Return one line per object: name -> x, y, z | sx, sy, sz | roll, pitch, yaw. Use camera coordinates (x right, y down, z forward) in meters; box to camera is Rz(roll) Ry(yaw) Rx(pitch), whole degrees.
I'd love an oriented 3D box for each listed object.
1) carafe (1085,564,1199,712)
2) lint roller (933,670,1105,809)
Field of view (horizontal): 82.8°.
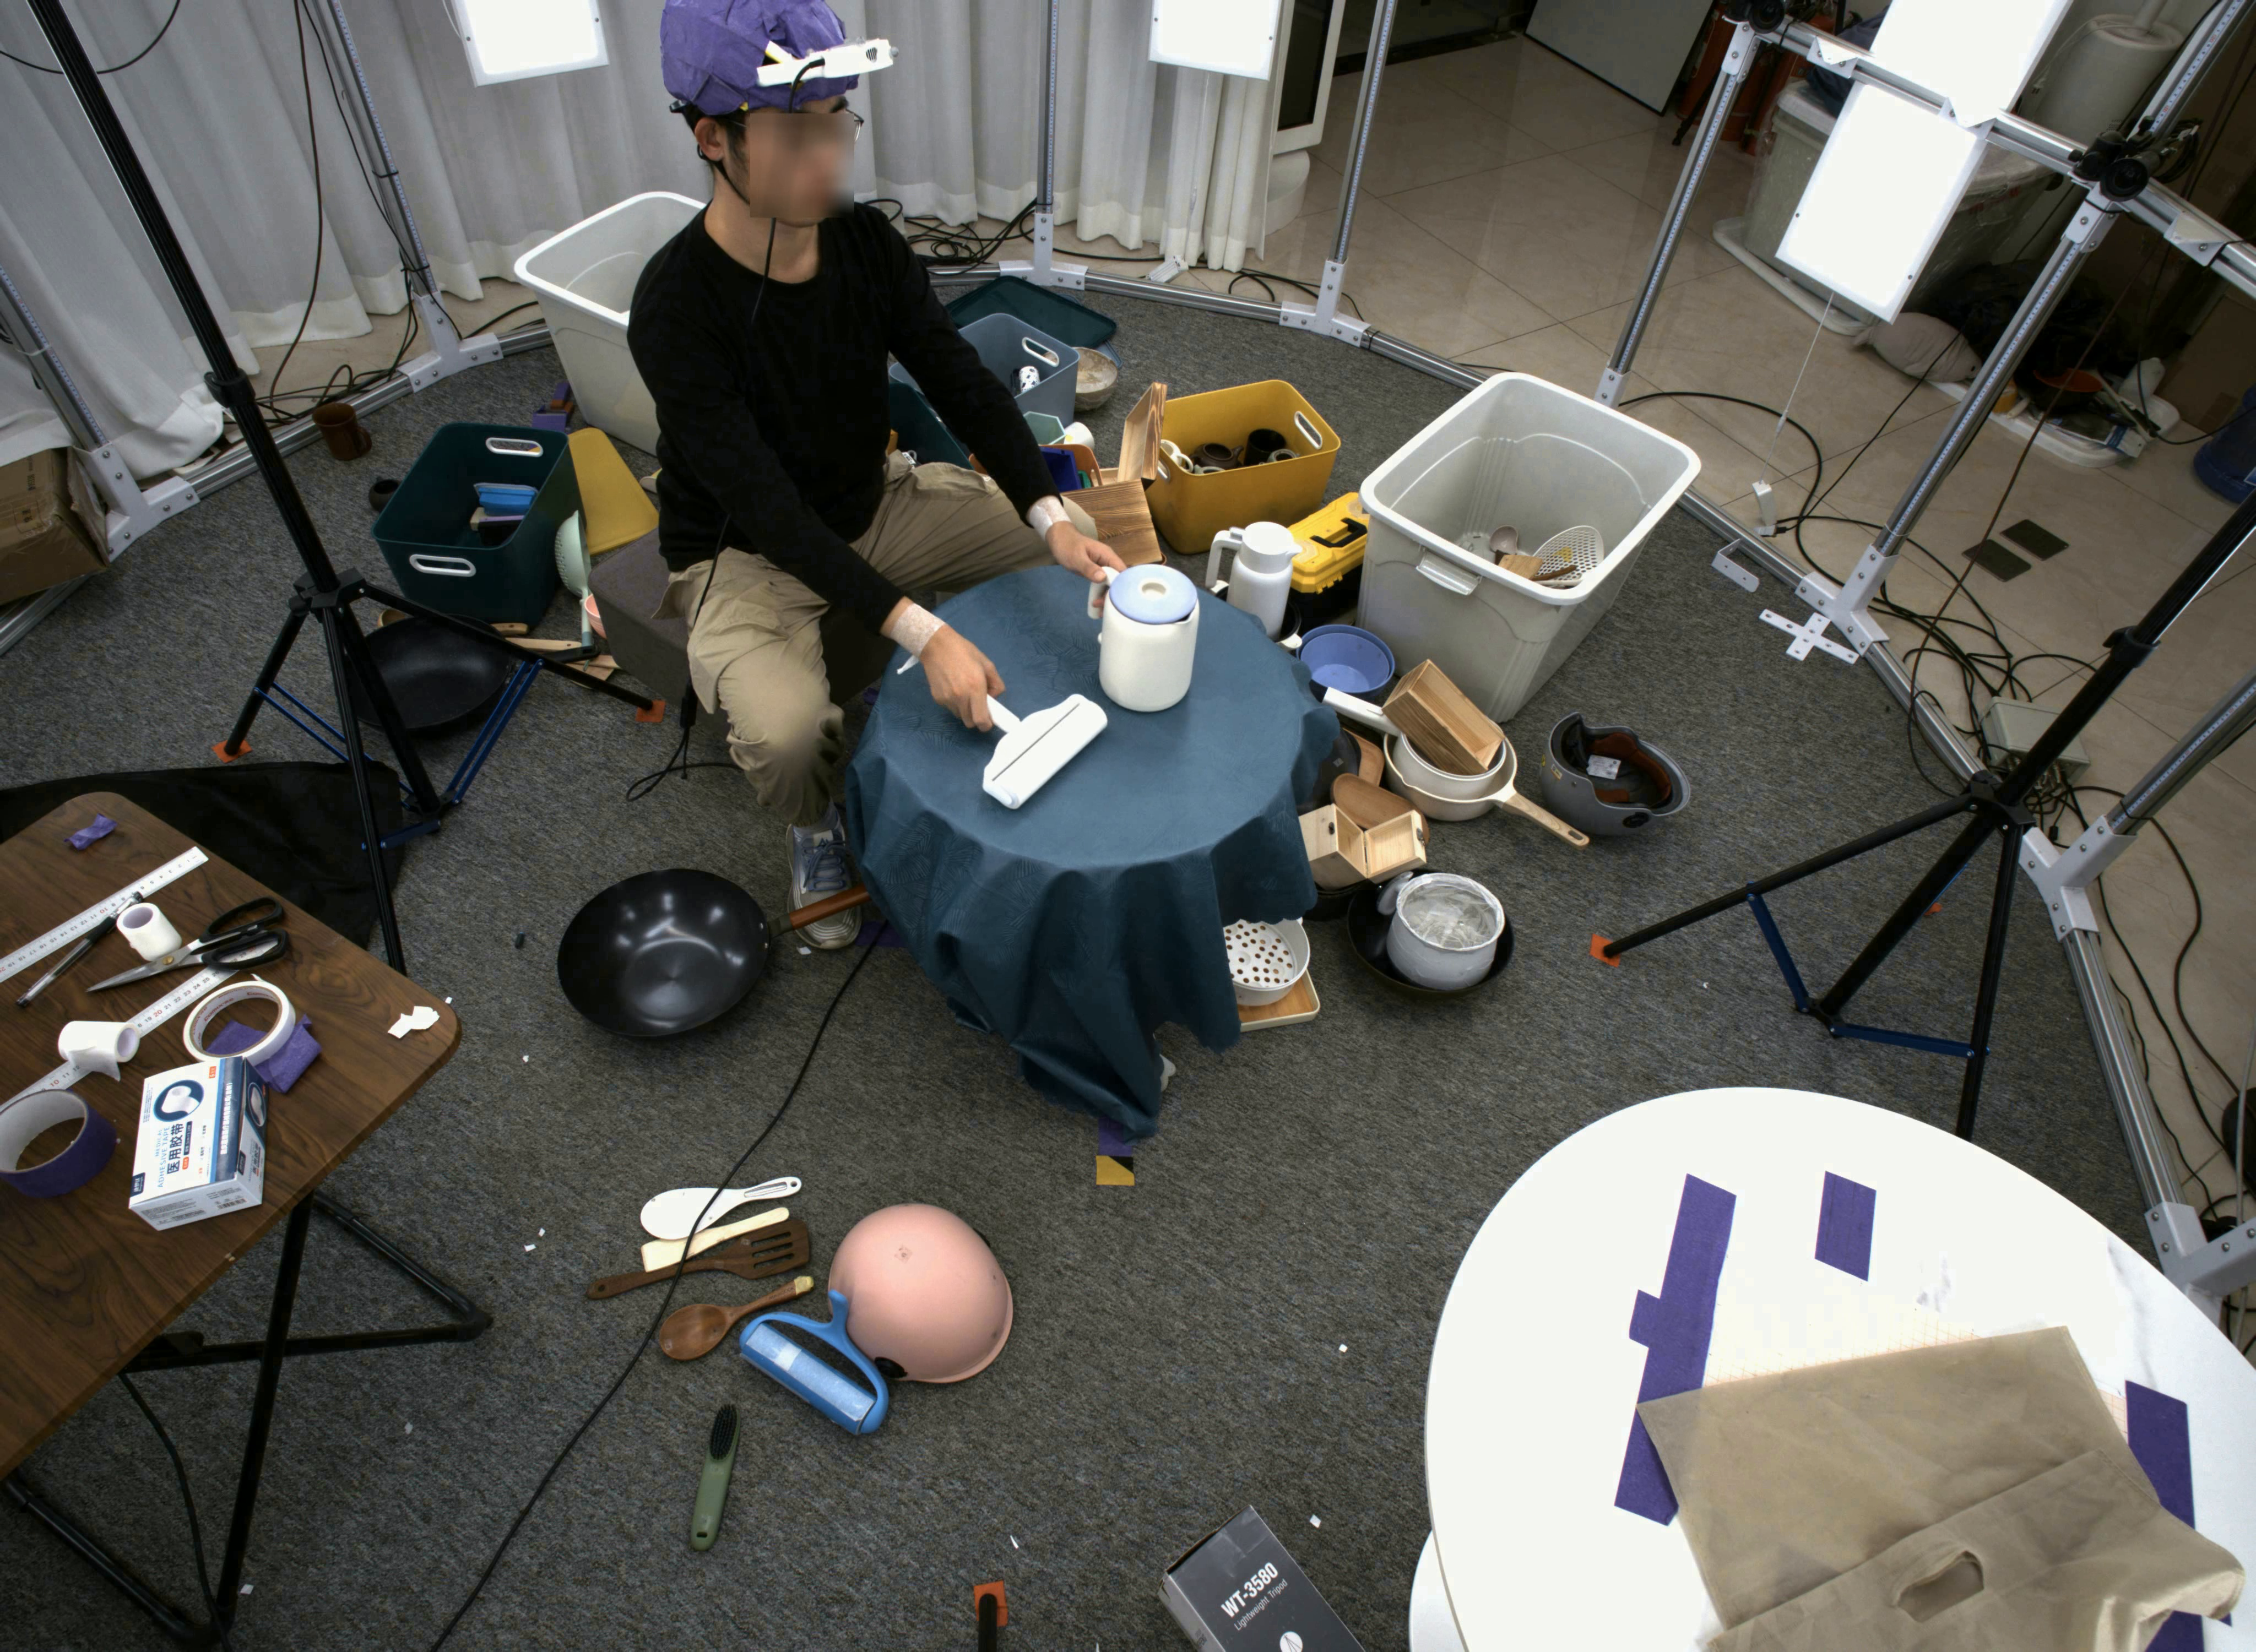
carafe -> 0.011, -0.275, 1.798 | 0.133, 0.178, 0.194 | -35, 58, -30
lint roller -> -0.173, -0.149, 1.737 | 0.227, 0.047, 0.205 | 36, 56, 13
